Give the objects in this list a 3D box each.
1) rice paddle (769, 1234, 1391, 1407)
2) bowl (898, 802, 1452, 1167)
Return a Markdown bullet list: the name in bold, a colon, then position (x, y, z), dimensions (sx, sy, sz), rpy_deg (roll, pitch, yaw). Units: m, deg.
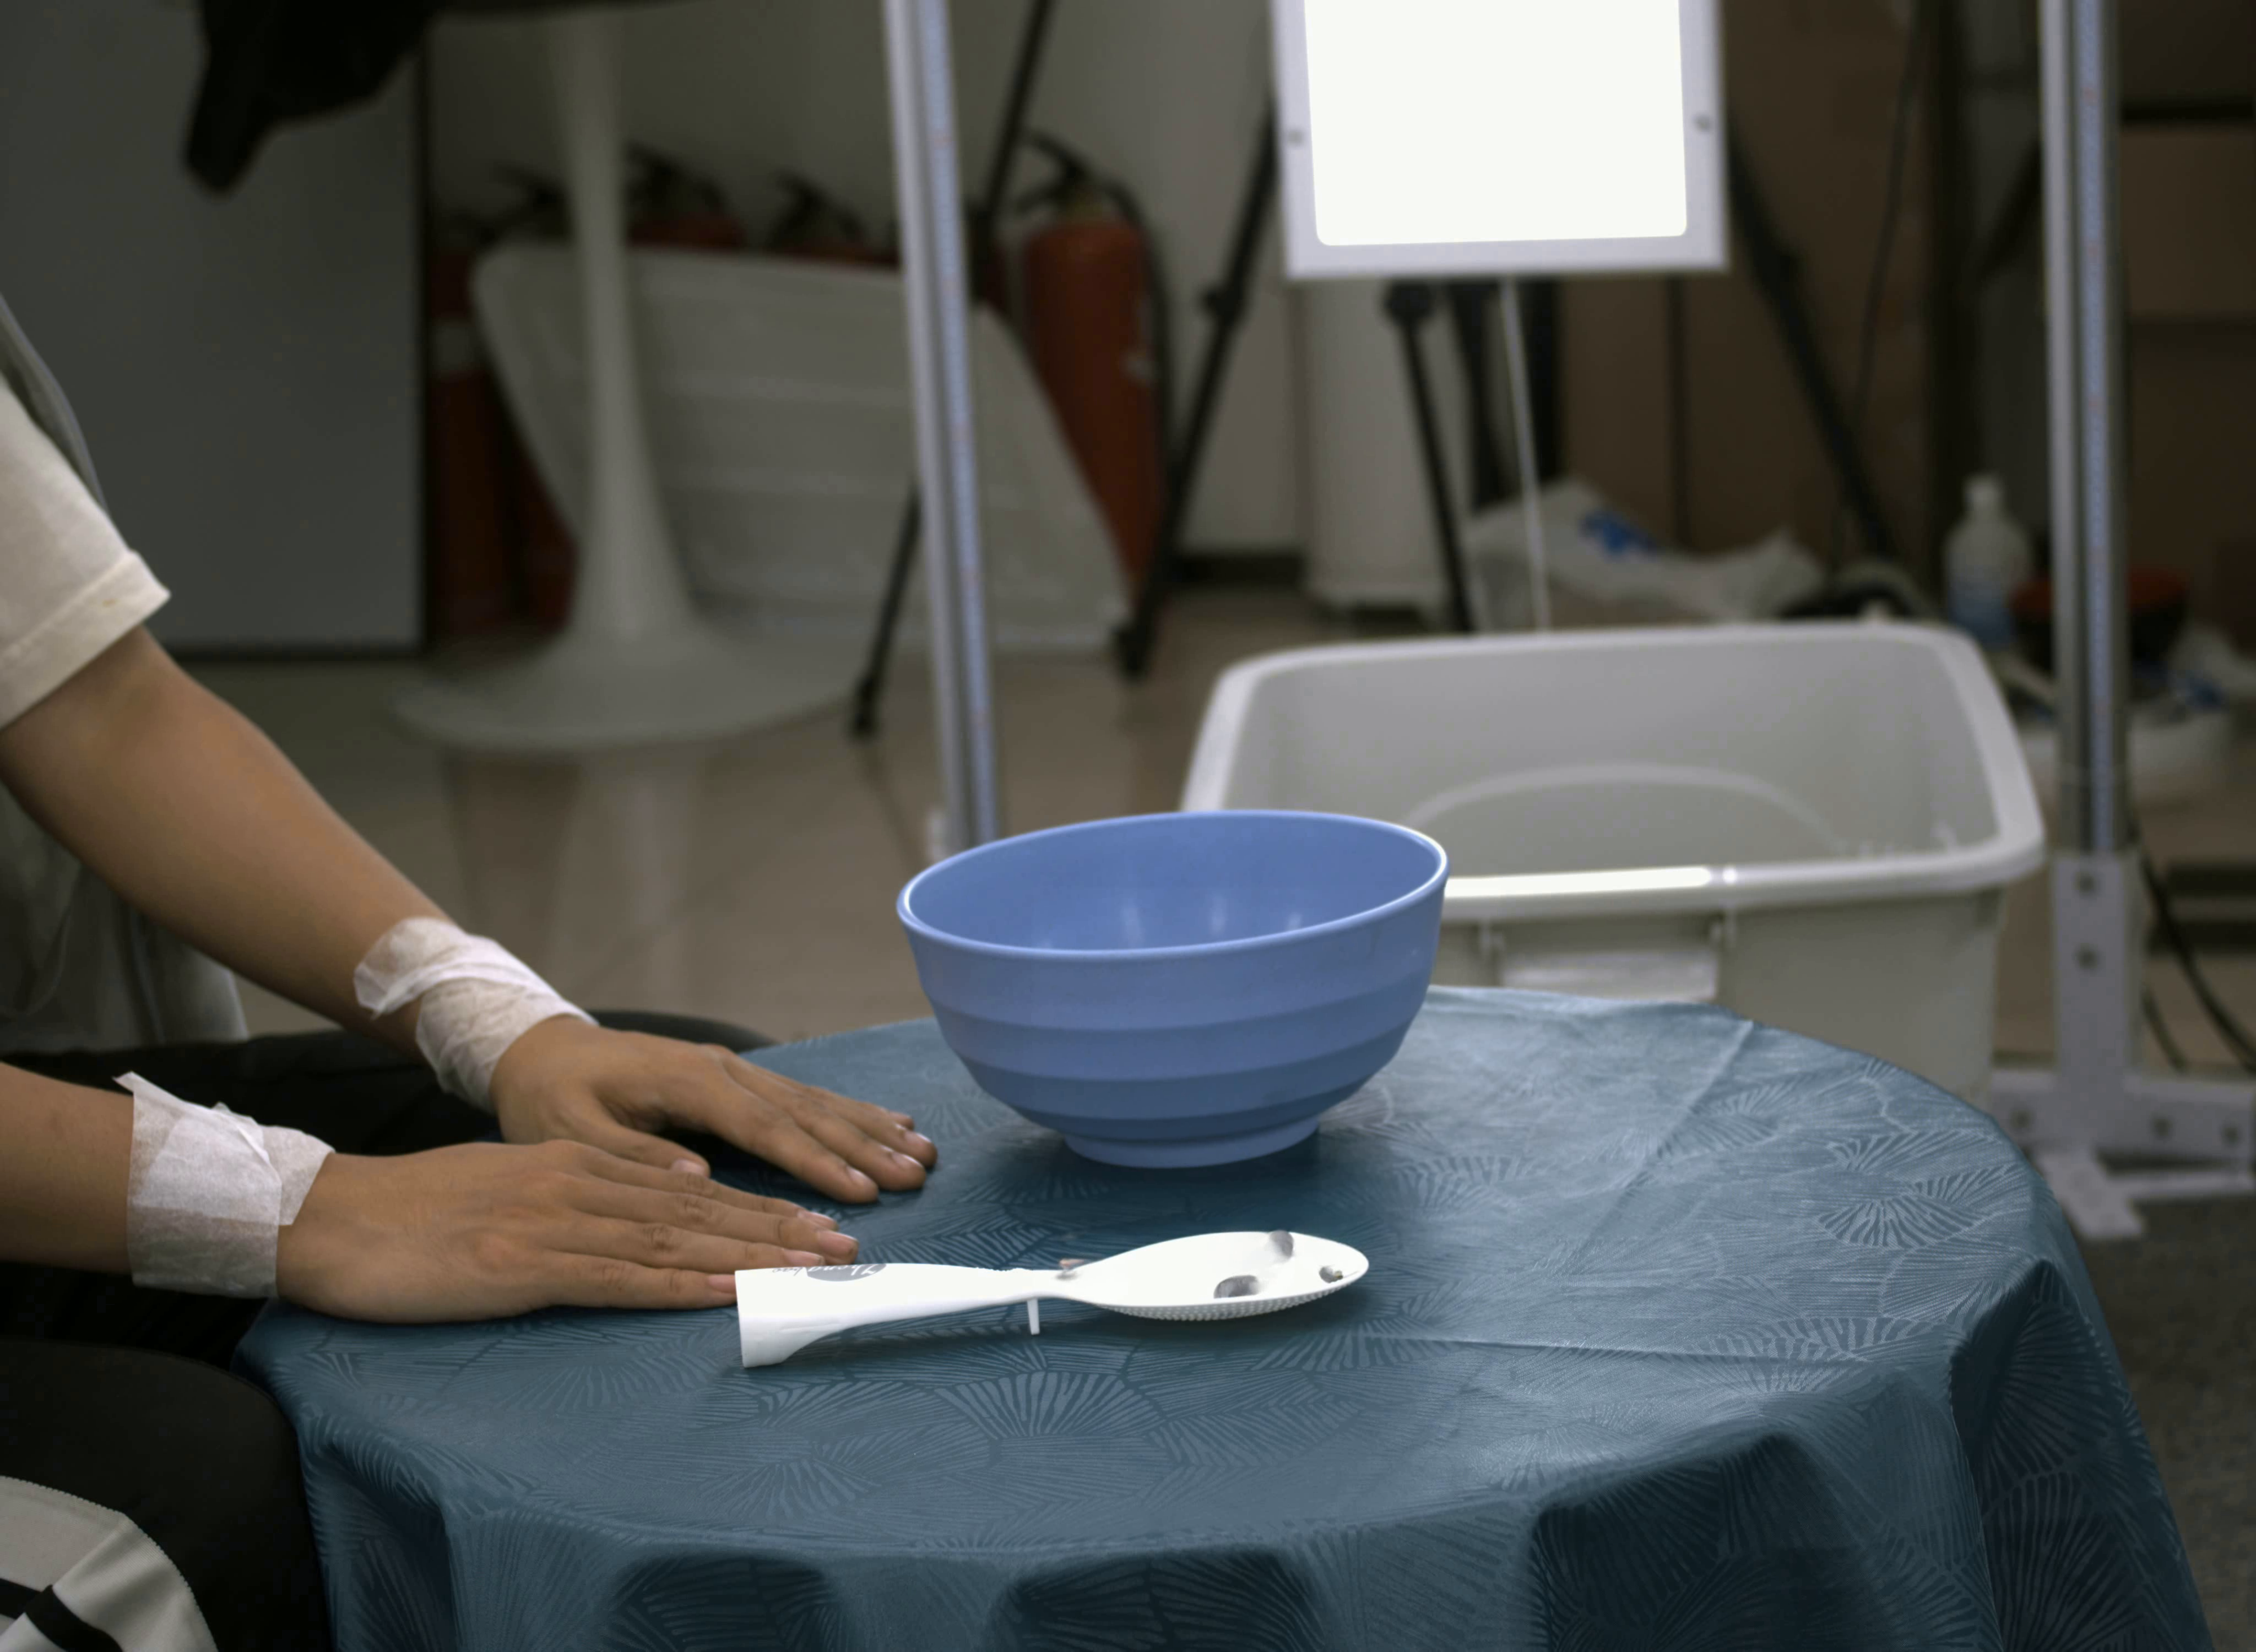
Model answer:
- **rice paddle**: position (-0.013, 0.150, 1.763), dimensions (0.203, 0.029, 0.069), rpy_deg (-11, 2, -11)
- **bowl**: position (0.019, 0.062, 1.950), dimensions (0.196, 0.096, 0.196), rpy_deg (-4, 15, 0)
